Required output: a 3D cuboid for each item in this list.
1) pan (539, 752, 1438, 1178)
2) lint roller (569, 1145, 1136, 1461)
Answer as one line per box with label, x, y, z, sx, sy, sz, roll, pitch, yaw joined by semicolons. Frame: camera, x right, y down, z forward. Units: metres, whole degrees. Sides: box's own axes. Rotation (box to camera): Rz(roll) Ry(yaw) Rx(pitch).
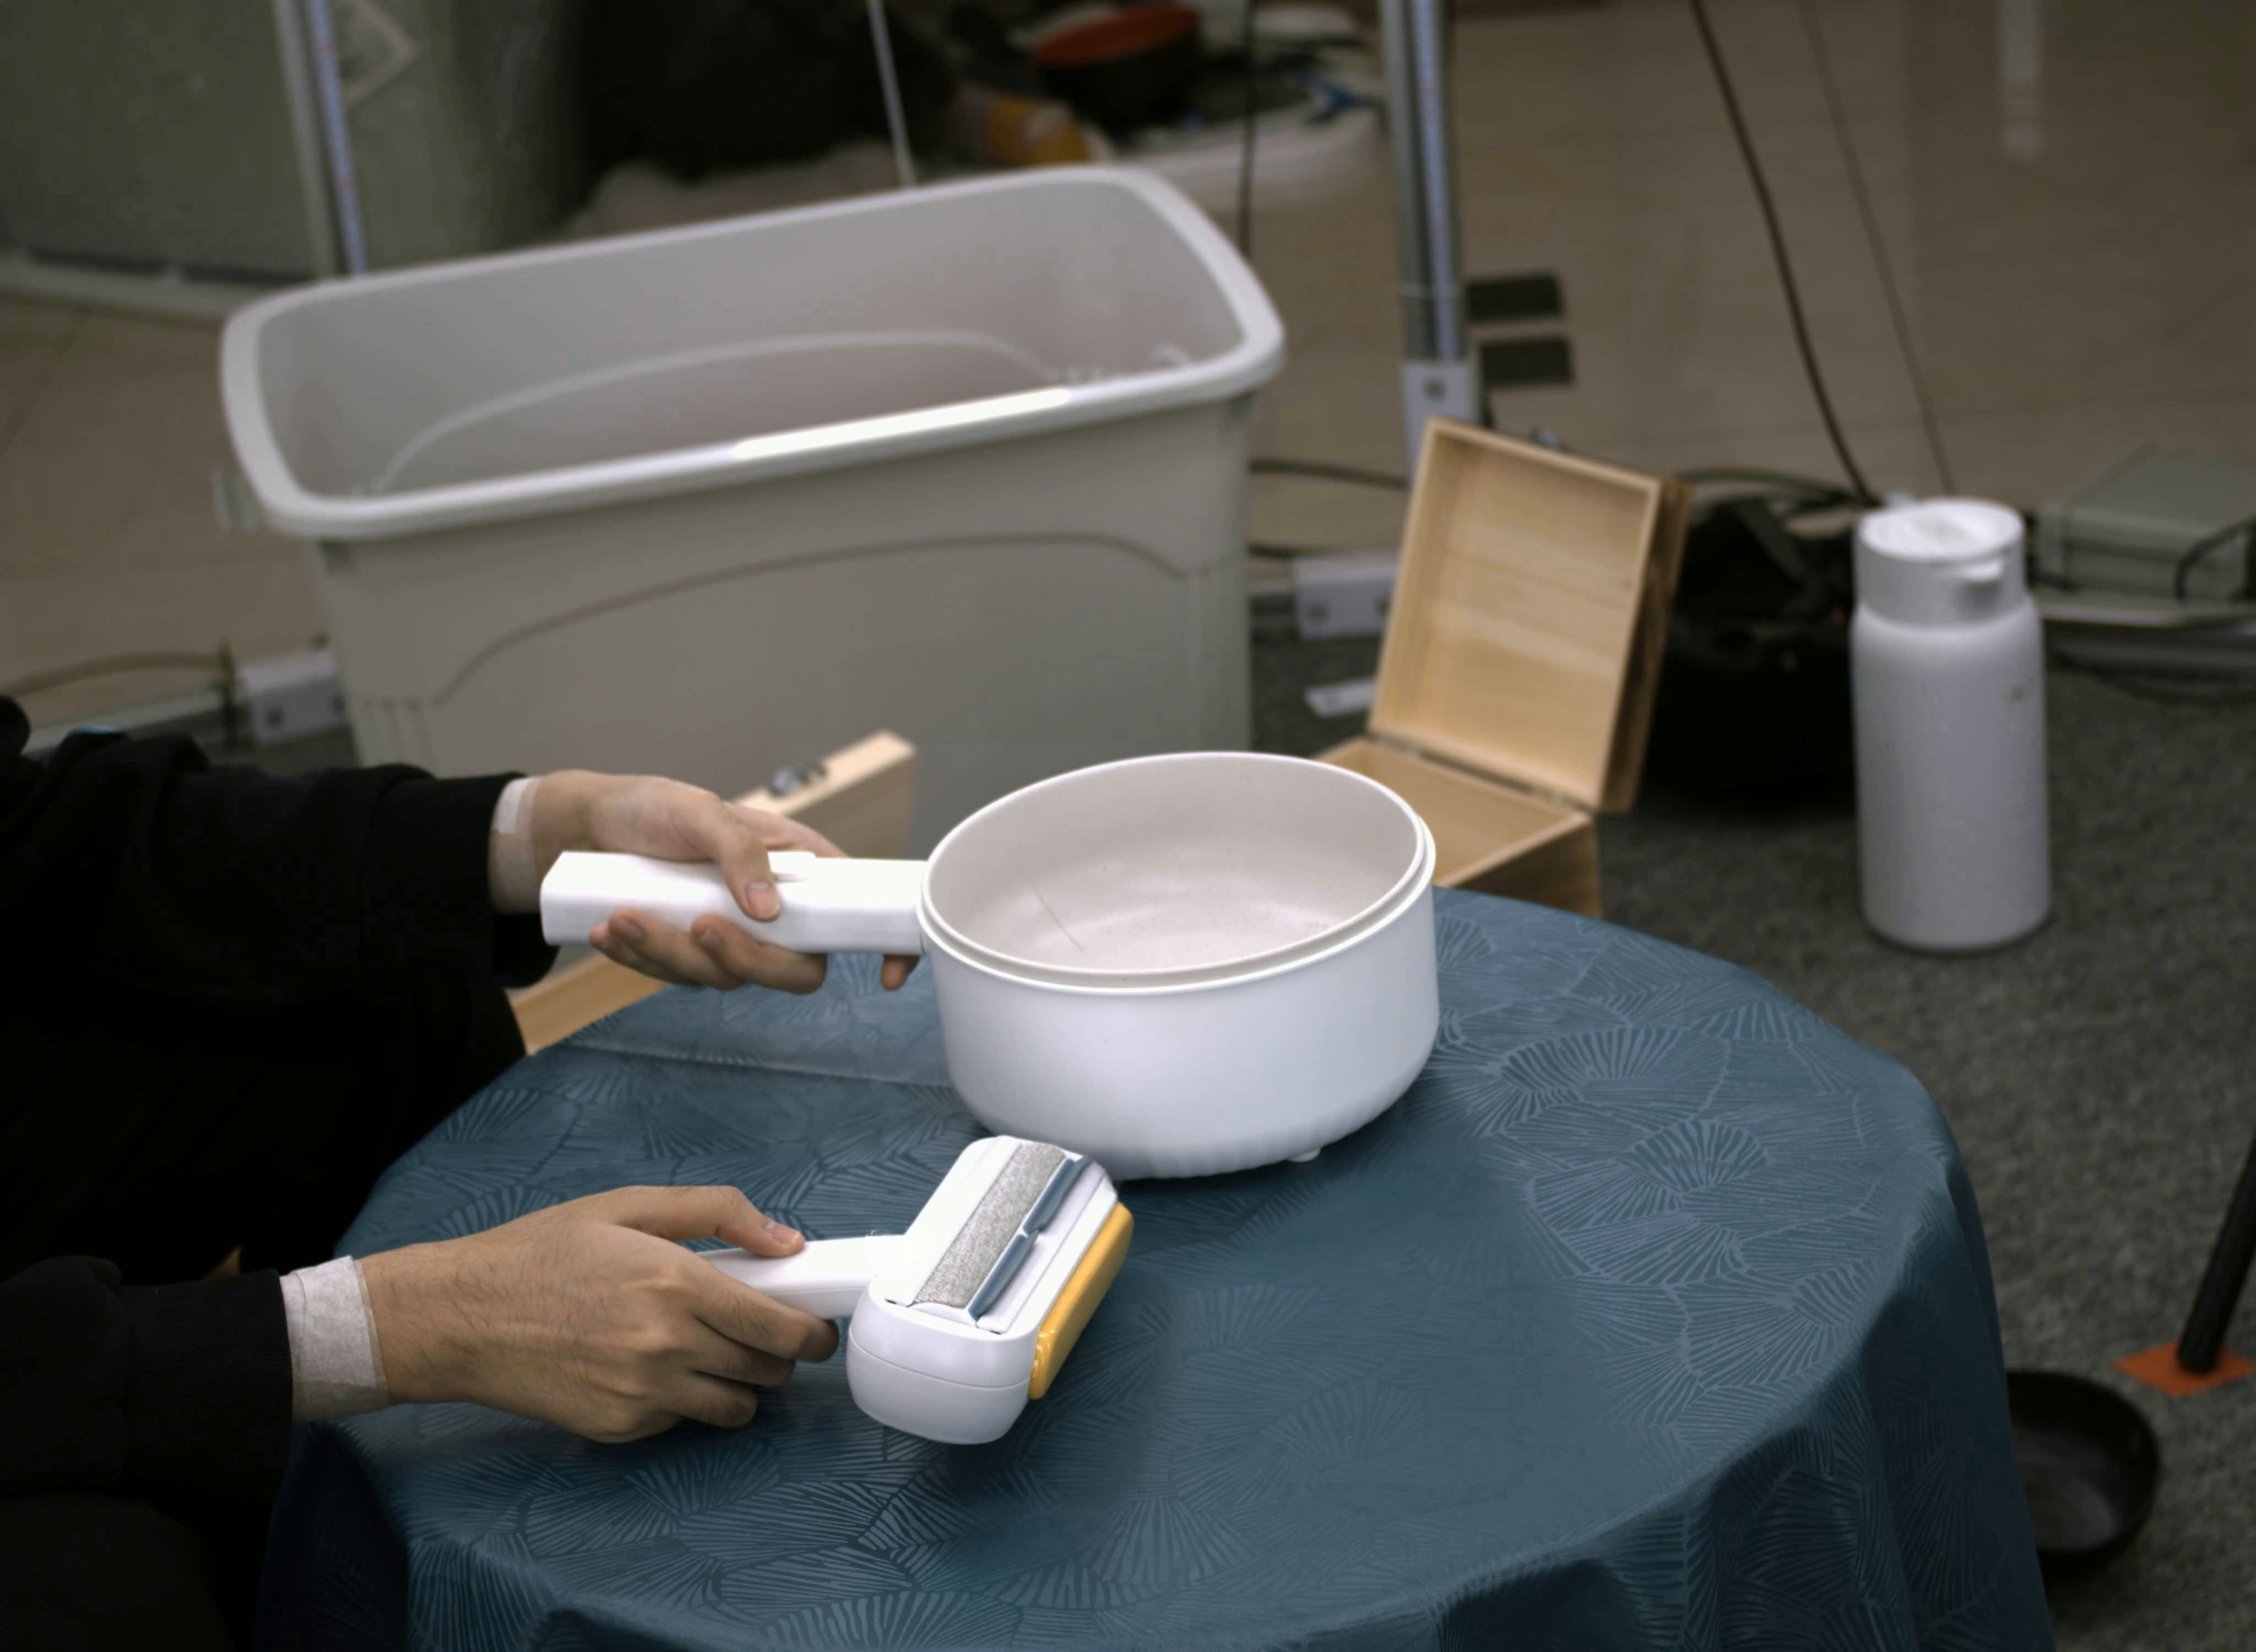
pan;-0.053;0.057;2.209;0.354;0.104;0.198;0;26;14
lint roller;-0.108;0.163;2.019;0.192;0.075;0.190;9;23;14
